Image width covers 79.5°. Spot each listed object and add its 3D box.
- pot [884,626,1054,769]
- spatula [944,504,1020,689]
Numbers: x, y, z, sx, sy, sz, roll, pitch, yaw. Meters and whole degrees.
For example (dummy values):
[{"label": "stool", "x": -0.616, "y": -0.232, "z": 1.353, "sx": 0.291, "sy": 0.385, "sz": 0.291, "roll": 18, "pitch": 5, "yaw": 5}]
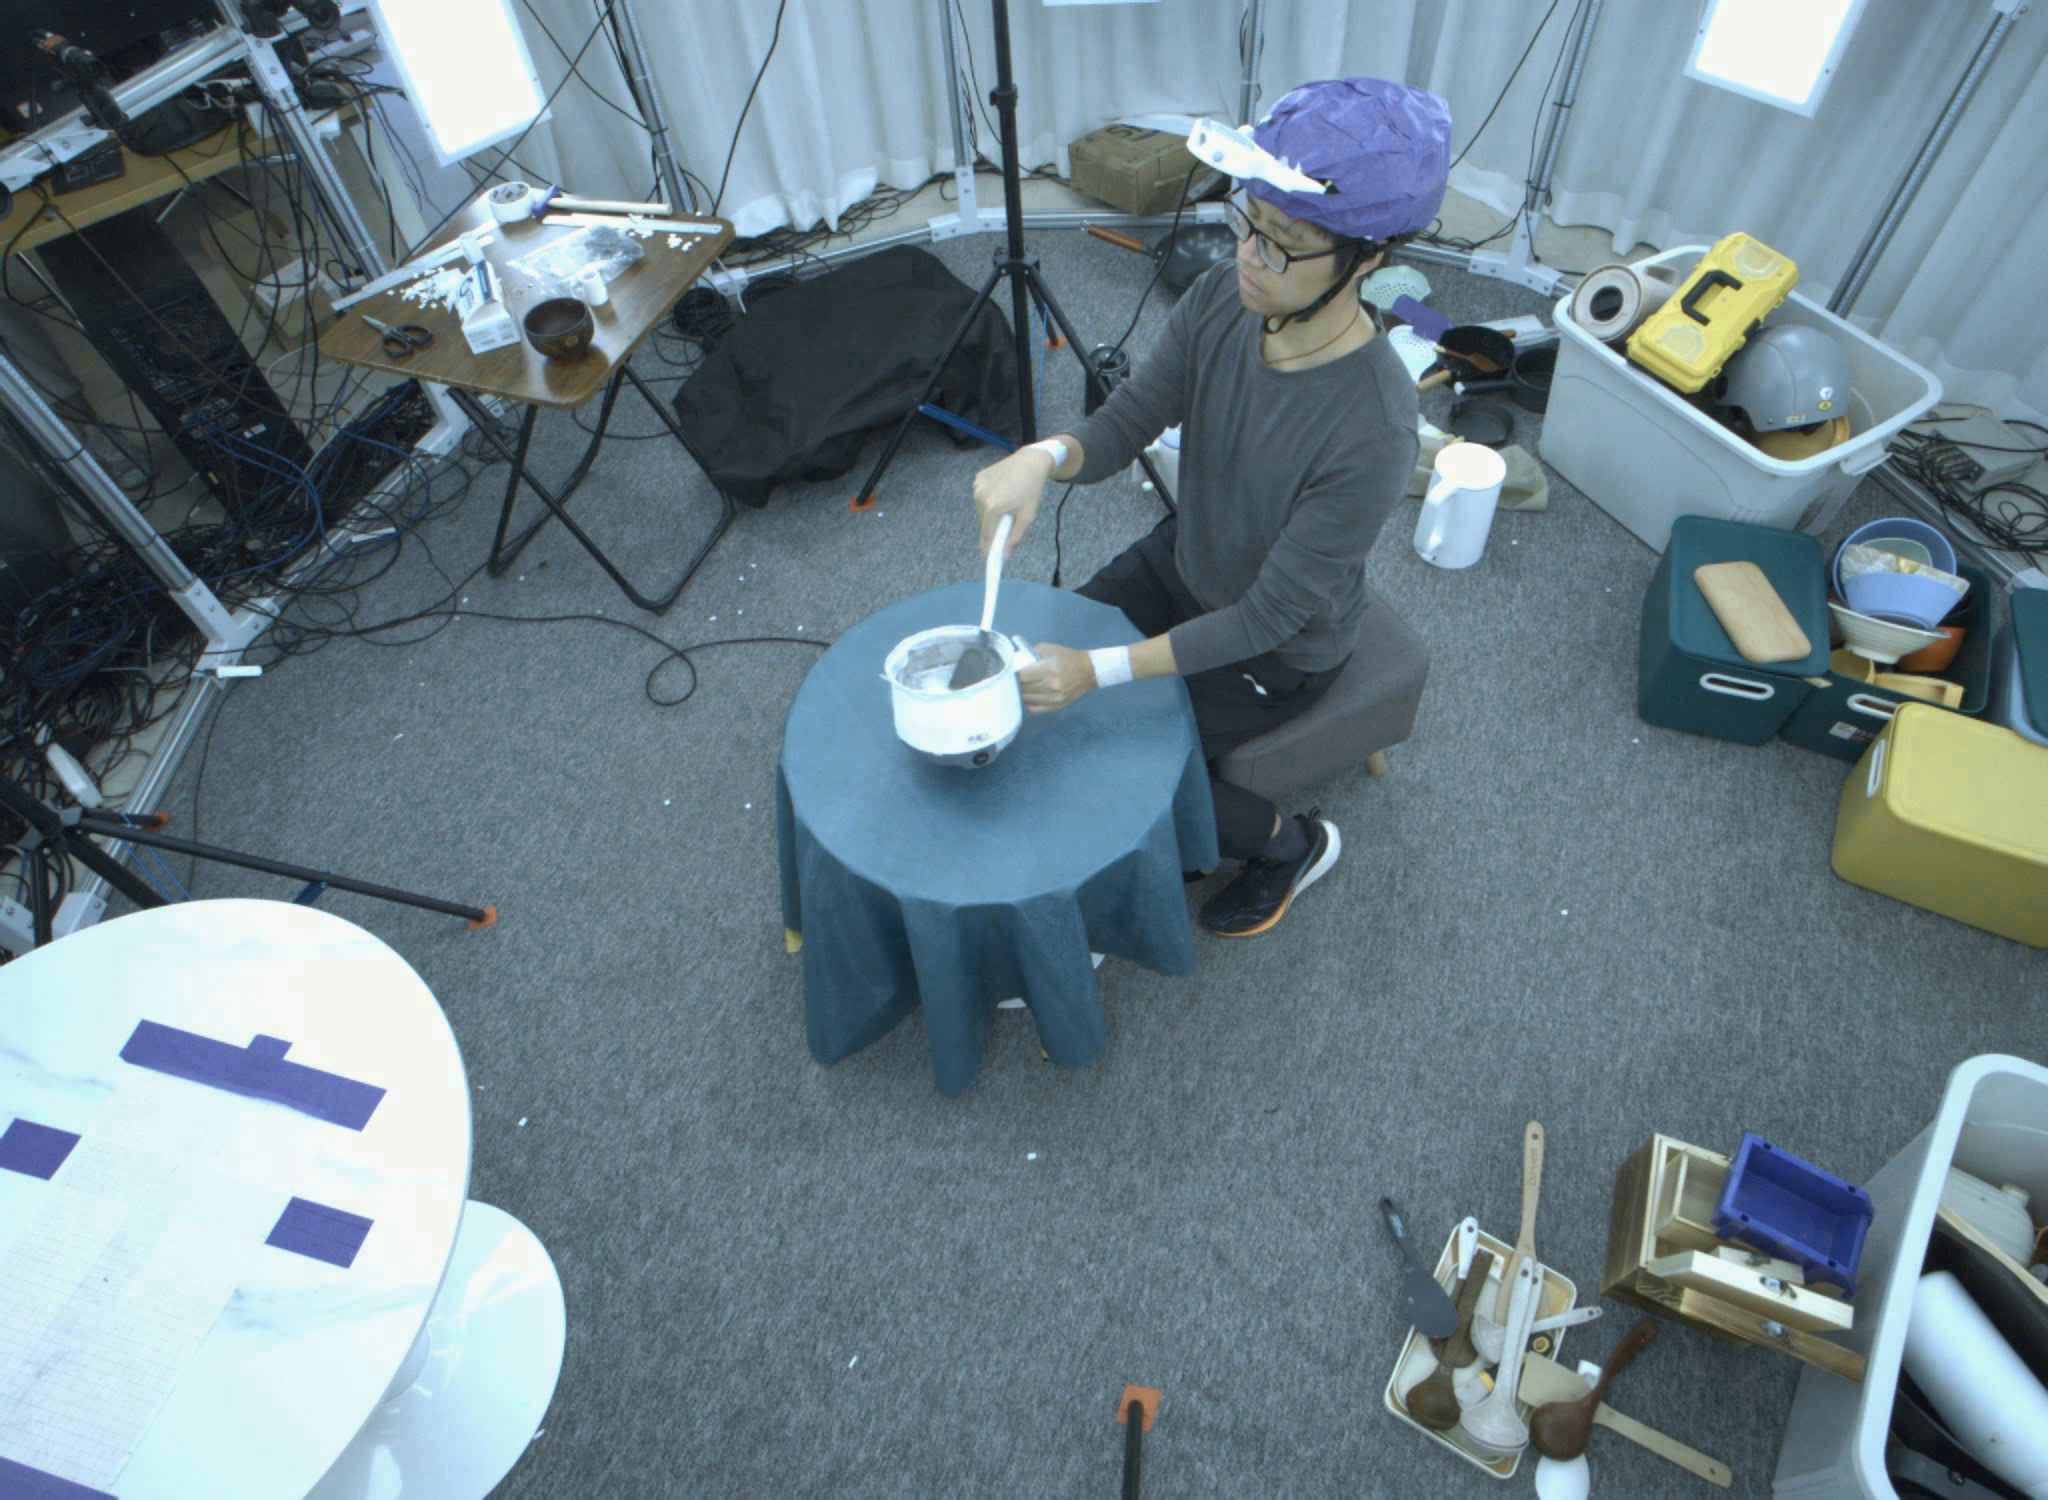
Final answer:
[{"label": "pot", "x": -0.072, "y": -0.082, "z": 1.720, "sx": 0.236, "sy": 0.138, "sz": 0.175, "roll": -19, "pitch": 39, "yaw": -16}, {"label": "spatula", "x": -0.056, "y": -0.197, "z": 1.689, "sx": 0.057, "sy": 0.288, "sz": 0.033, "roll": 30, "pitch": 29, "yaw": 27}]
